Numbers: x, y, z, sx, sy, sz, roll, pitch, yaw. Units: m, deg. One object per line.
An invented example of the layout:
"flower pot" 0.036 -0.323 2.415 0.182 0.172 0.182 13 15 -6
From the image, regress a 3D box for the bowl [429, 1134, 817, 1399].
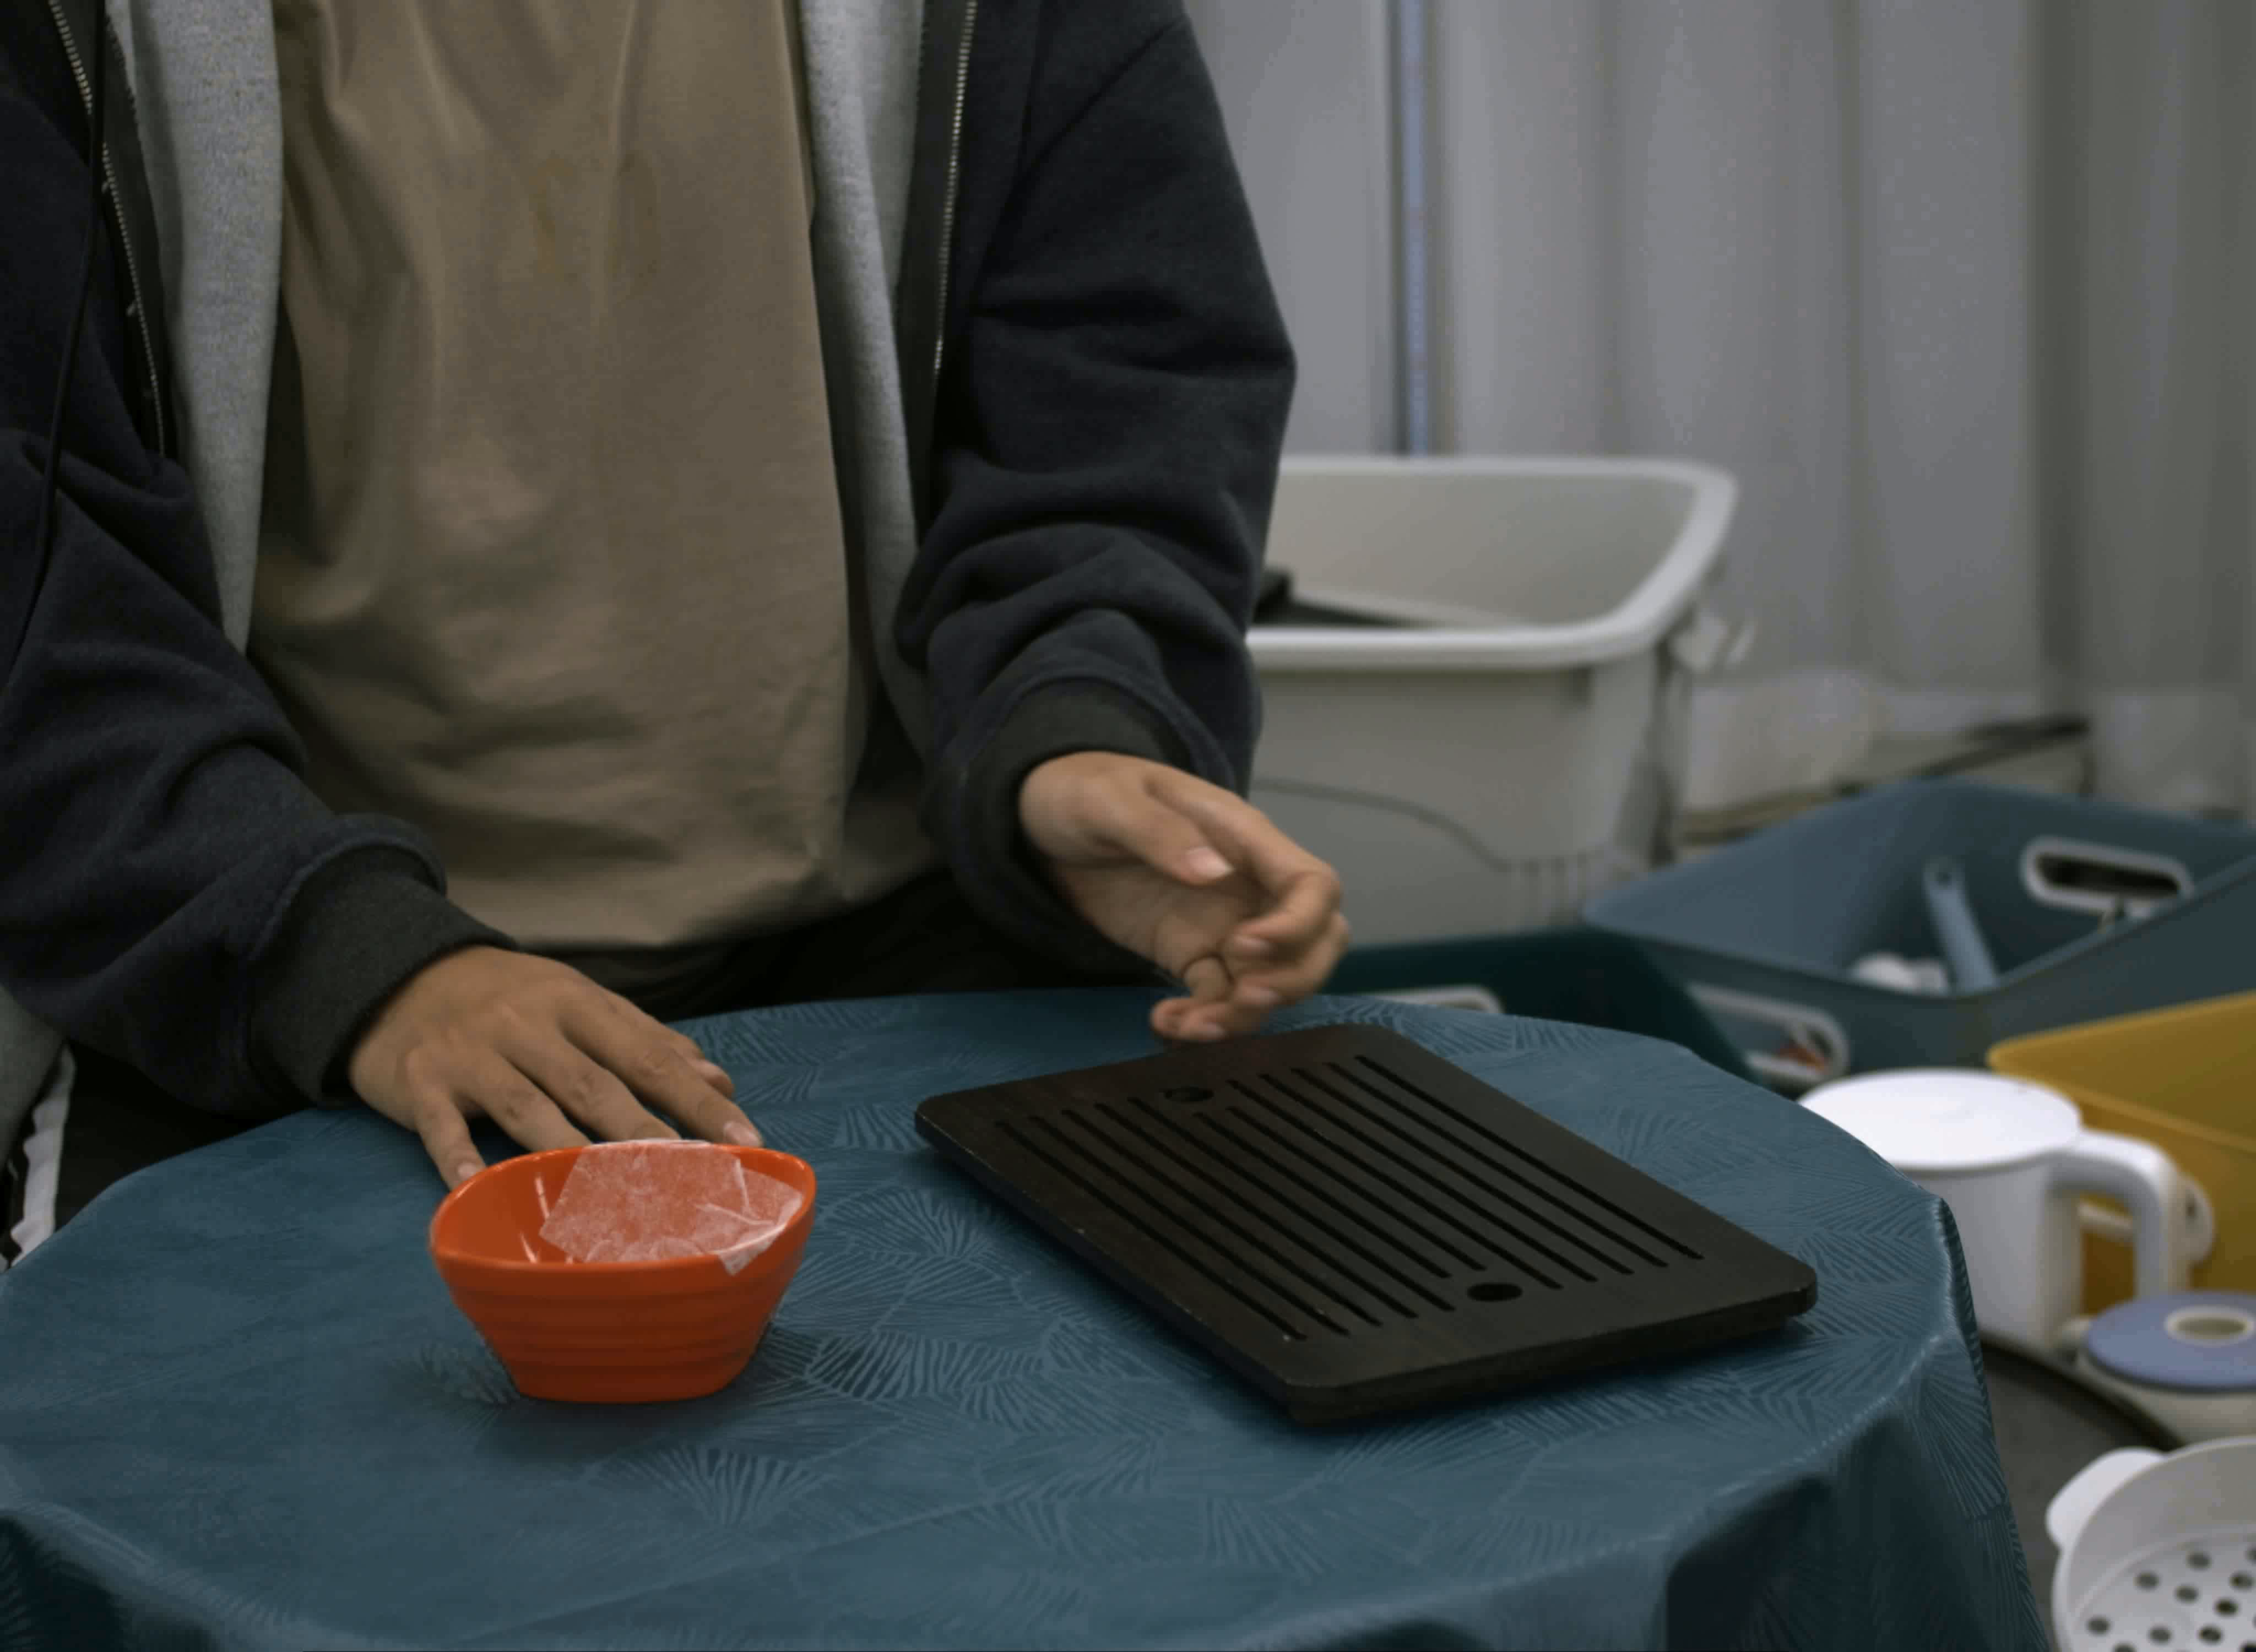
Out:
"bowl" -0.143 0.130 1.582 0.118 0.051 0.120 -4 15 1

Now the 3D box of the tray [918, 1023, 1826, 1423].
"tray" 0.066 0.117 1.661 0.169 0.018 0.308 -9 16 -22
